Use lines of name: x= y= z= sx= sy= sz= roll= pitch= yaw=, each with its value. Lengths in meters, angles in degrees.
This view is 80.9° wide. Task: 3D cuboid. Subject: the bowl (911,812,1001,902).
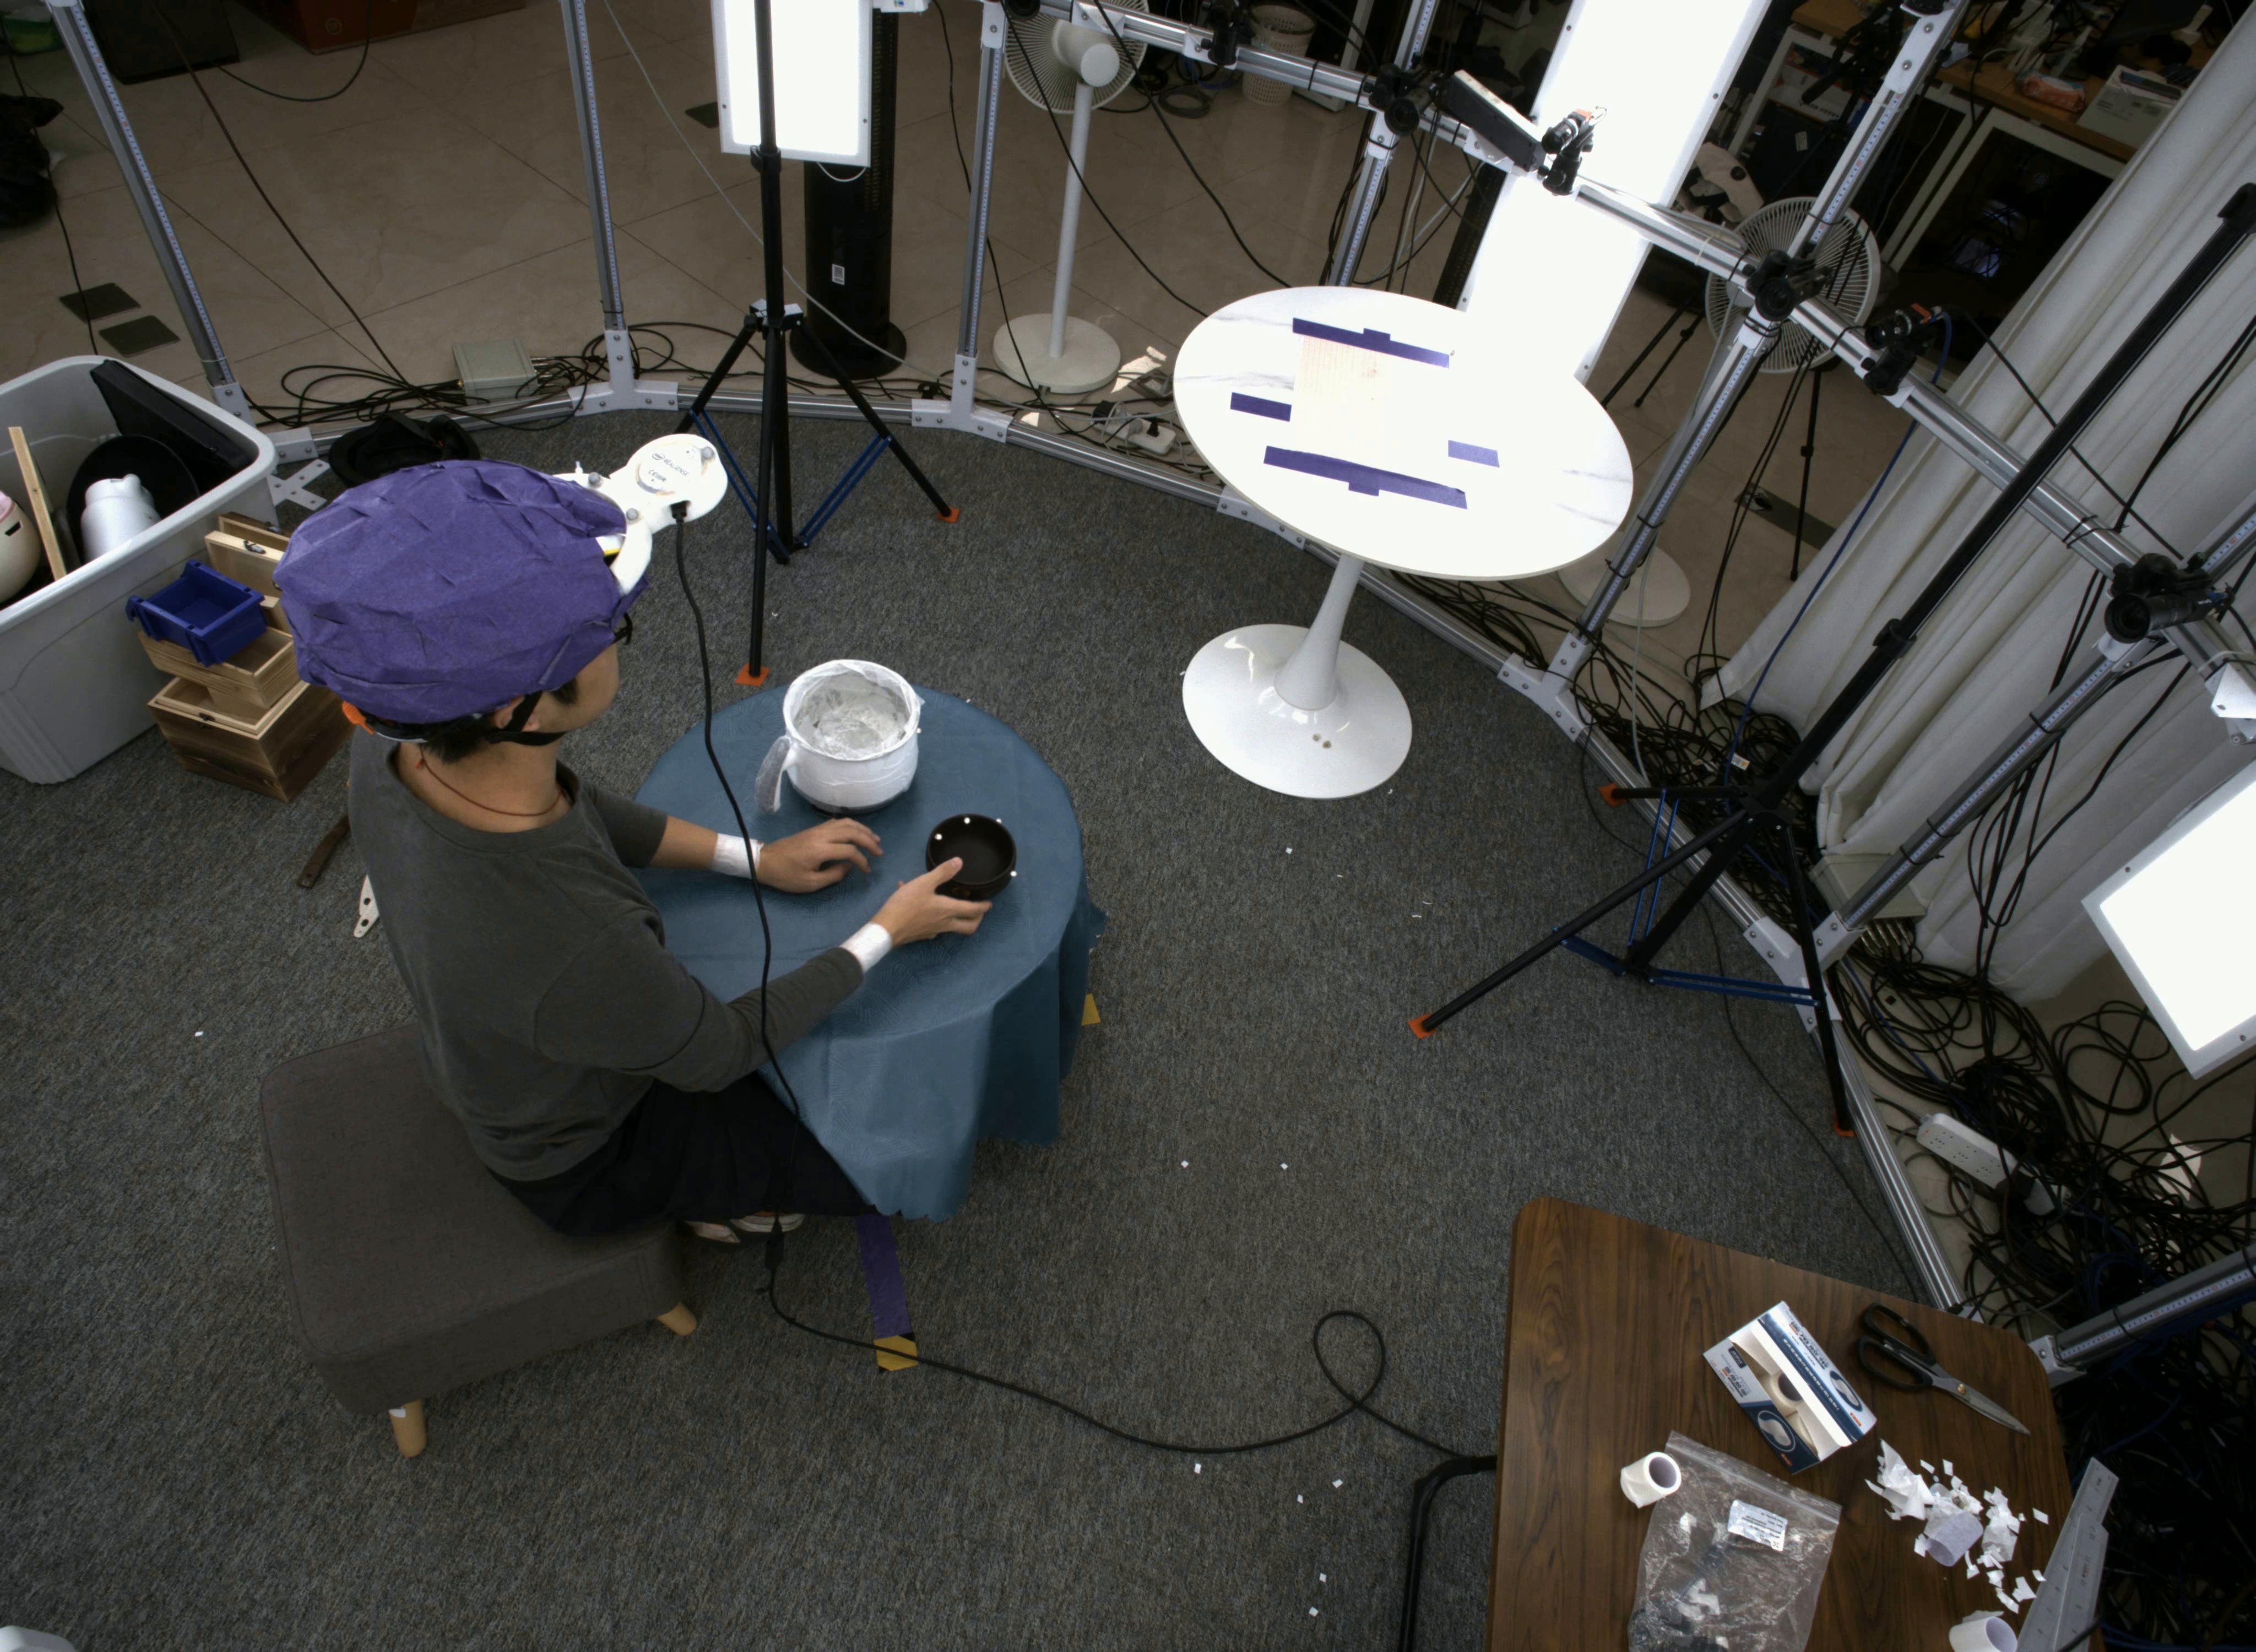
bowl: x=-0.225 y=0.047 z=1.705 sx=0.117 sy=0.071 sz=0.116 roll=6 pitch=54 yaw=-7

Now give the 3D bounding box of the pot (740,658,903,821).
pot: x=-0.411 y=-0.101 z=1.725 sx=0.234 sy=0.139 sz=0.174 roll=-34 pitch=66 yaw=-32
